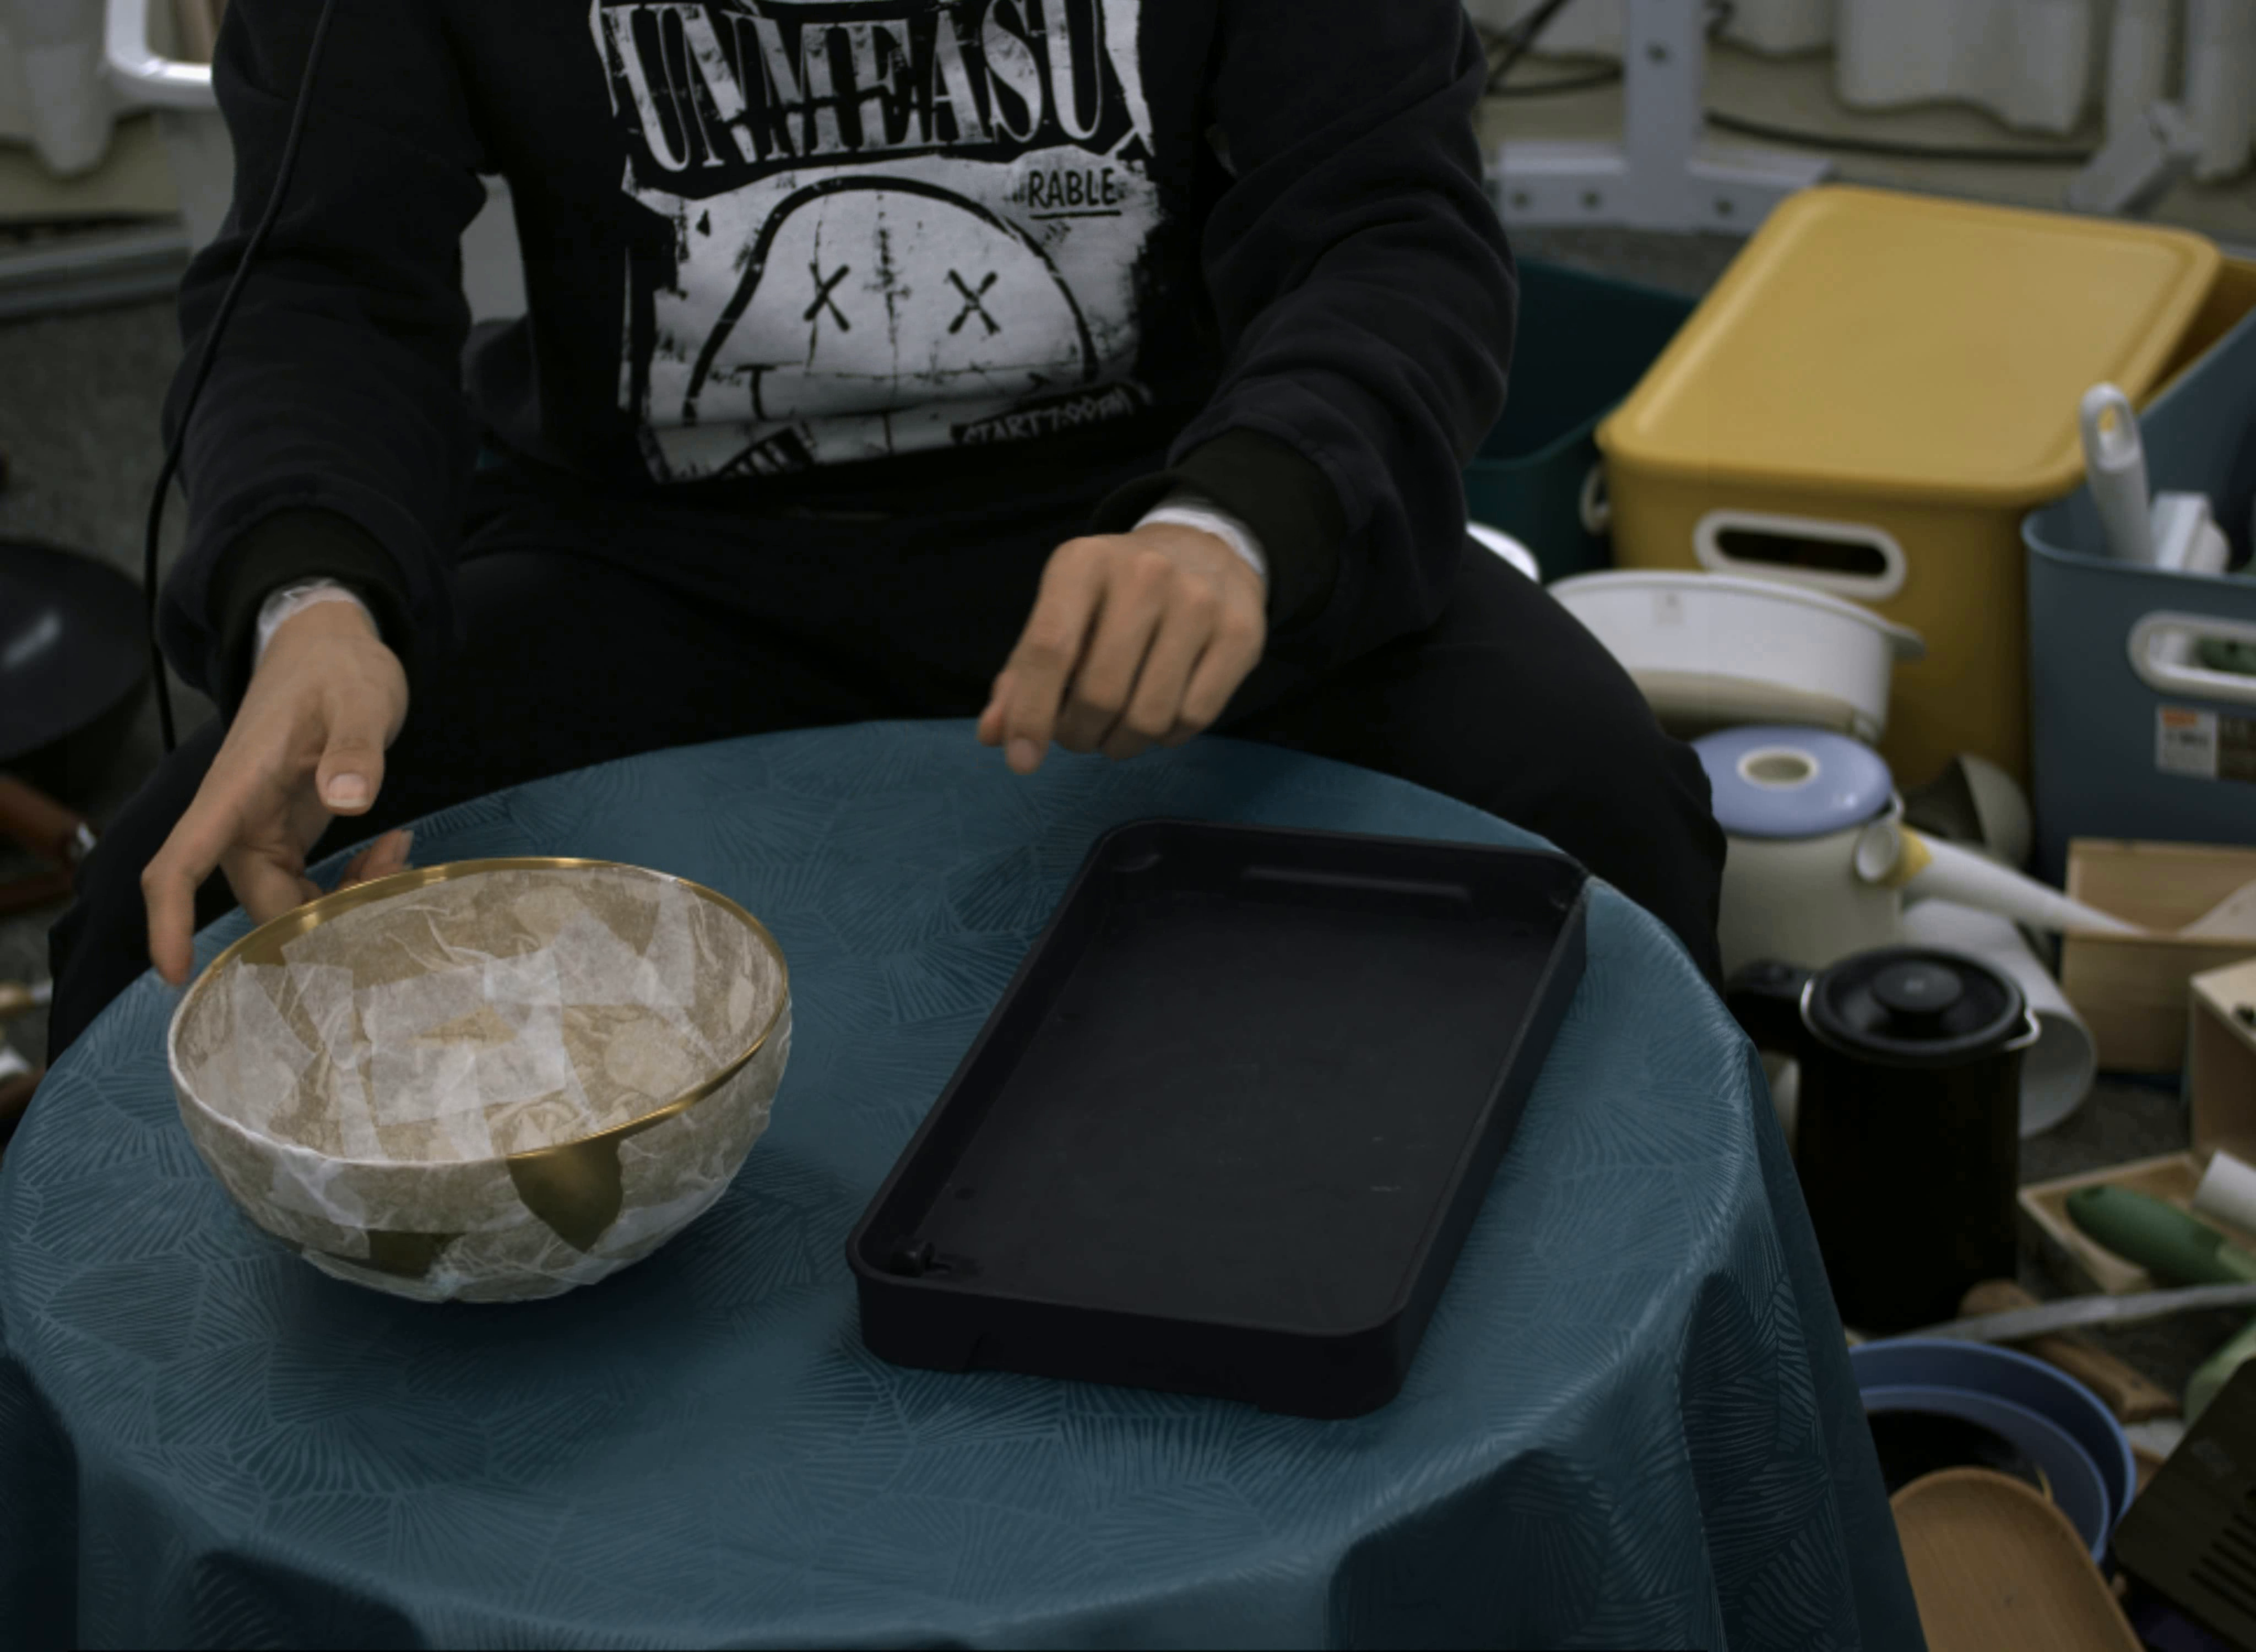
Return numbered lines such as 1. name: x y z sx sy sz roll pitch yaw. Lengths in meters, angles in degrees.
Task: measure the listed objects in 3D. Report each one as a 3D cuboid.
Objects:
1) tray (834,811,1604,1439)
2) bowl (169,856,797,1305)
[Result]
1. tray: 0.037 0.093 1.880 0.183 0.036 0.323 7 30 17
2. bowl: -0.202 0.095 1.833 0.213 0.093 0.218 -3 26 2
